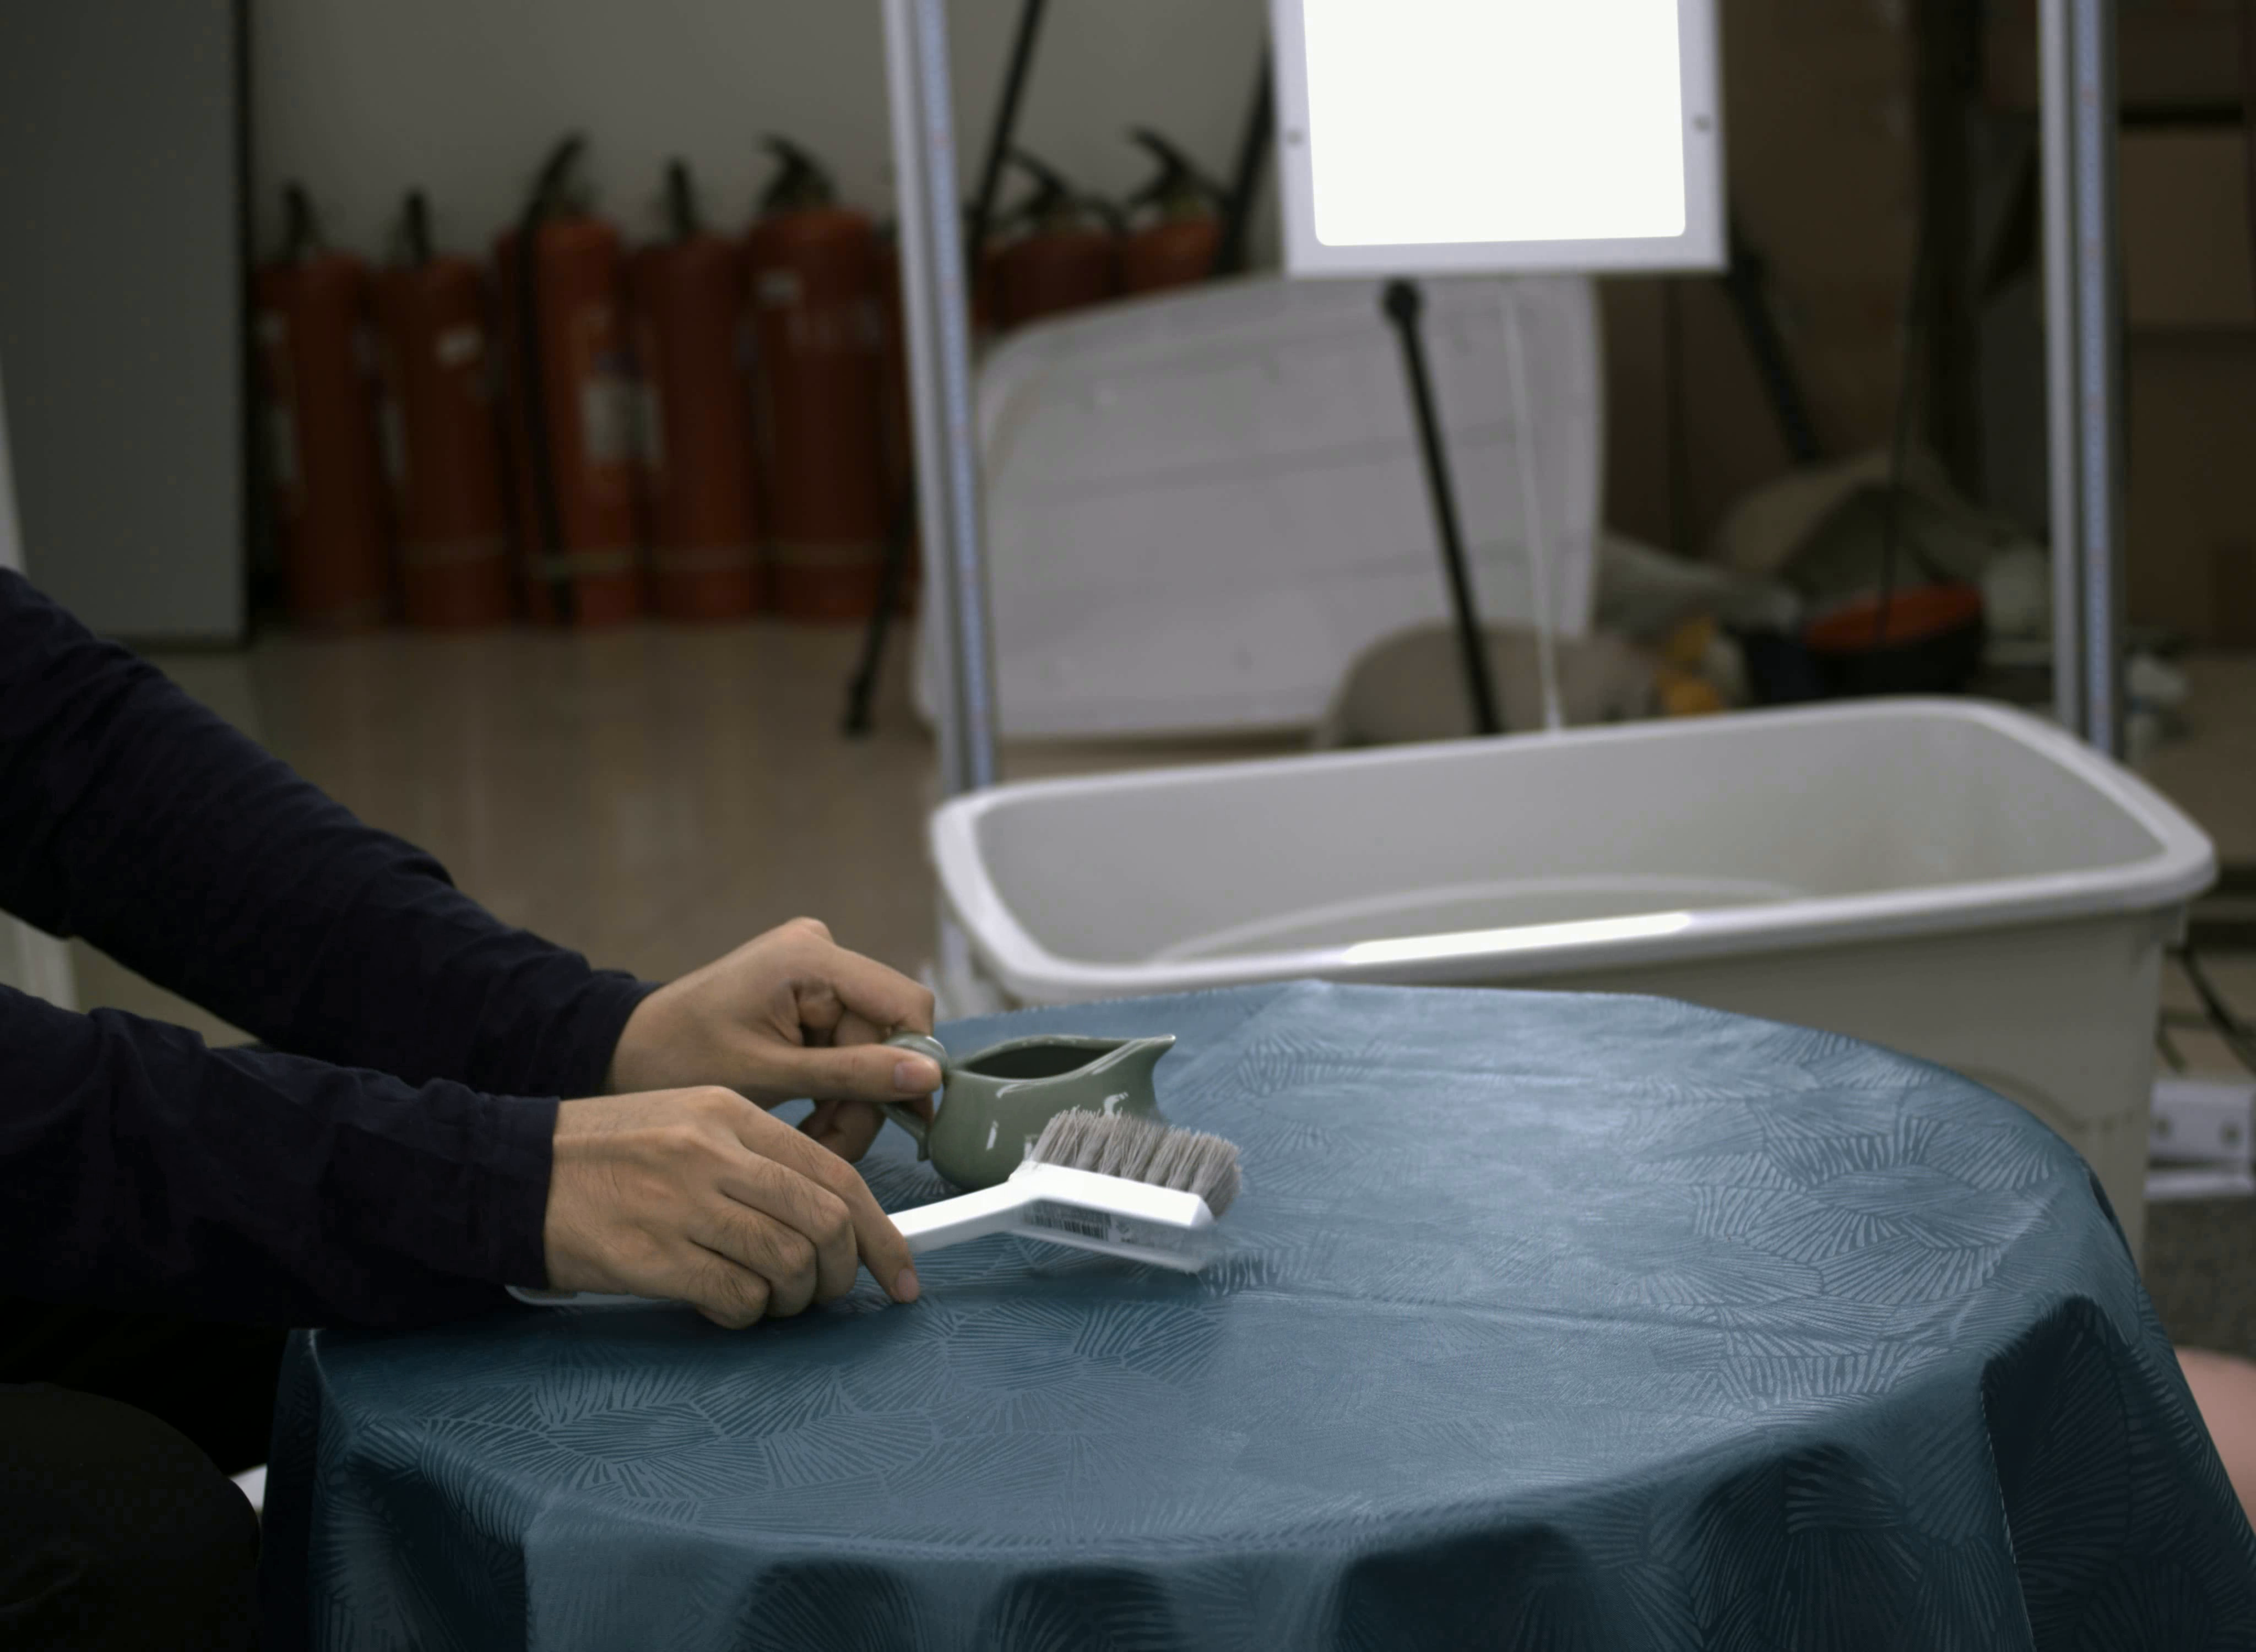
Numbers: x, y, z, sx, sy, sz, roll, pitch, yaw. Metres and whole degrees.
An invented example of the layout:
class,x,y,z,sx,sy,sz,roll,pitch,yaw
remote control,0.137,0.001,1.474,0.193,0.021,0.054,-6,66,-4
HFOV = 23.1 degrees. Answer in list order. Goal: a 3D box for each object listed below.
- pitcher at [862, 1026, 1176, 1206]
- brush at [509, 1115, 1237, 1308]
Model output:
class,x,y,z,sx,sy,sz,roll,pitch,yaw
pitcher,-0.036,0.099,1.907,0.113,0.056,0.083,-4,12,13
brush,-0.085,0.127,1.819,0.245,0.050,0.034,-5,-25,10
